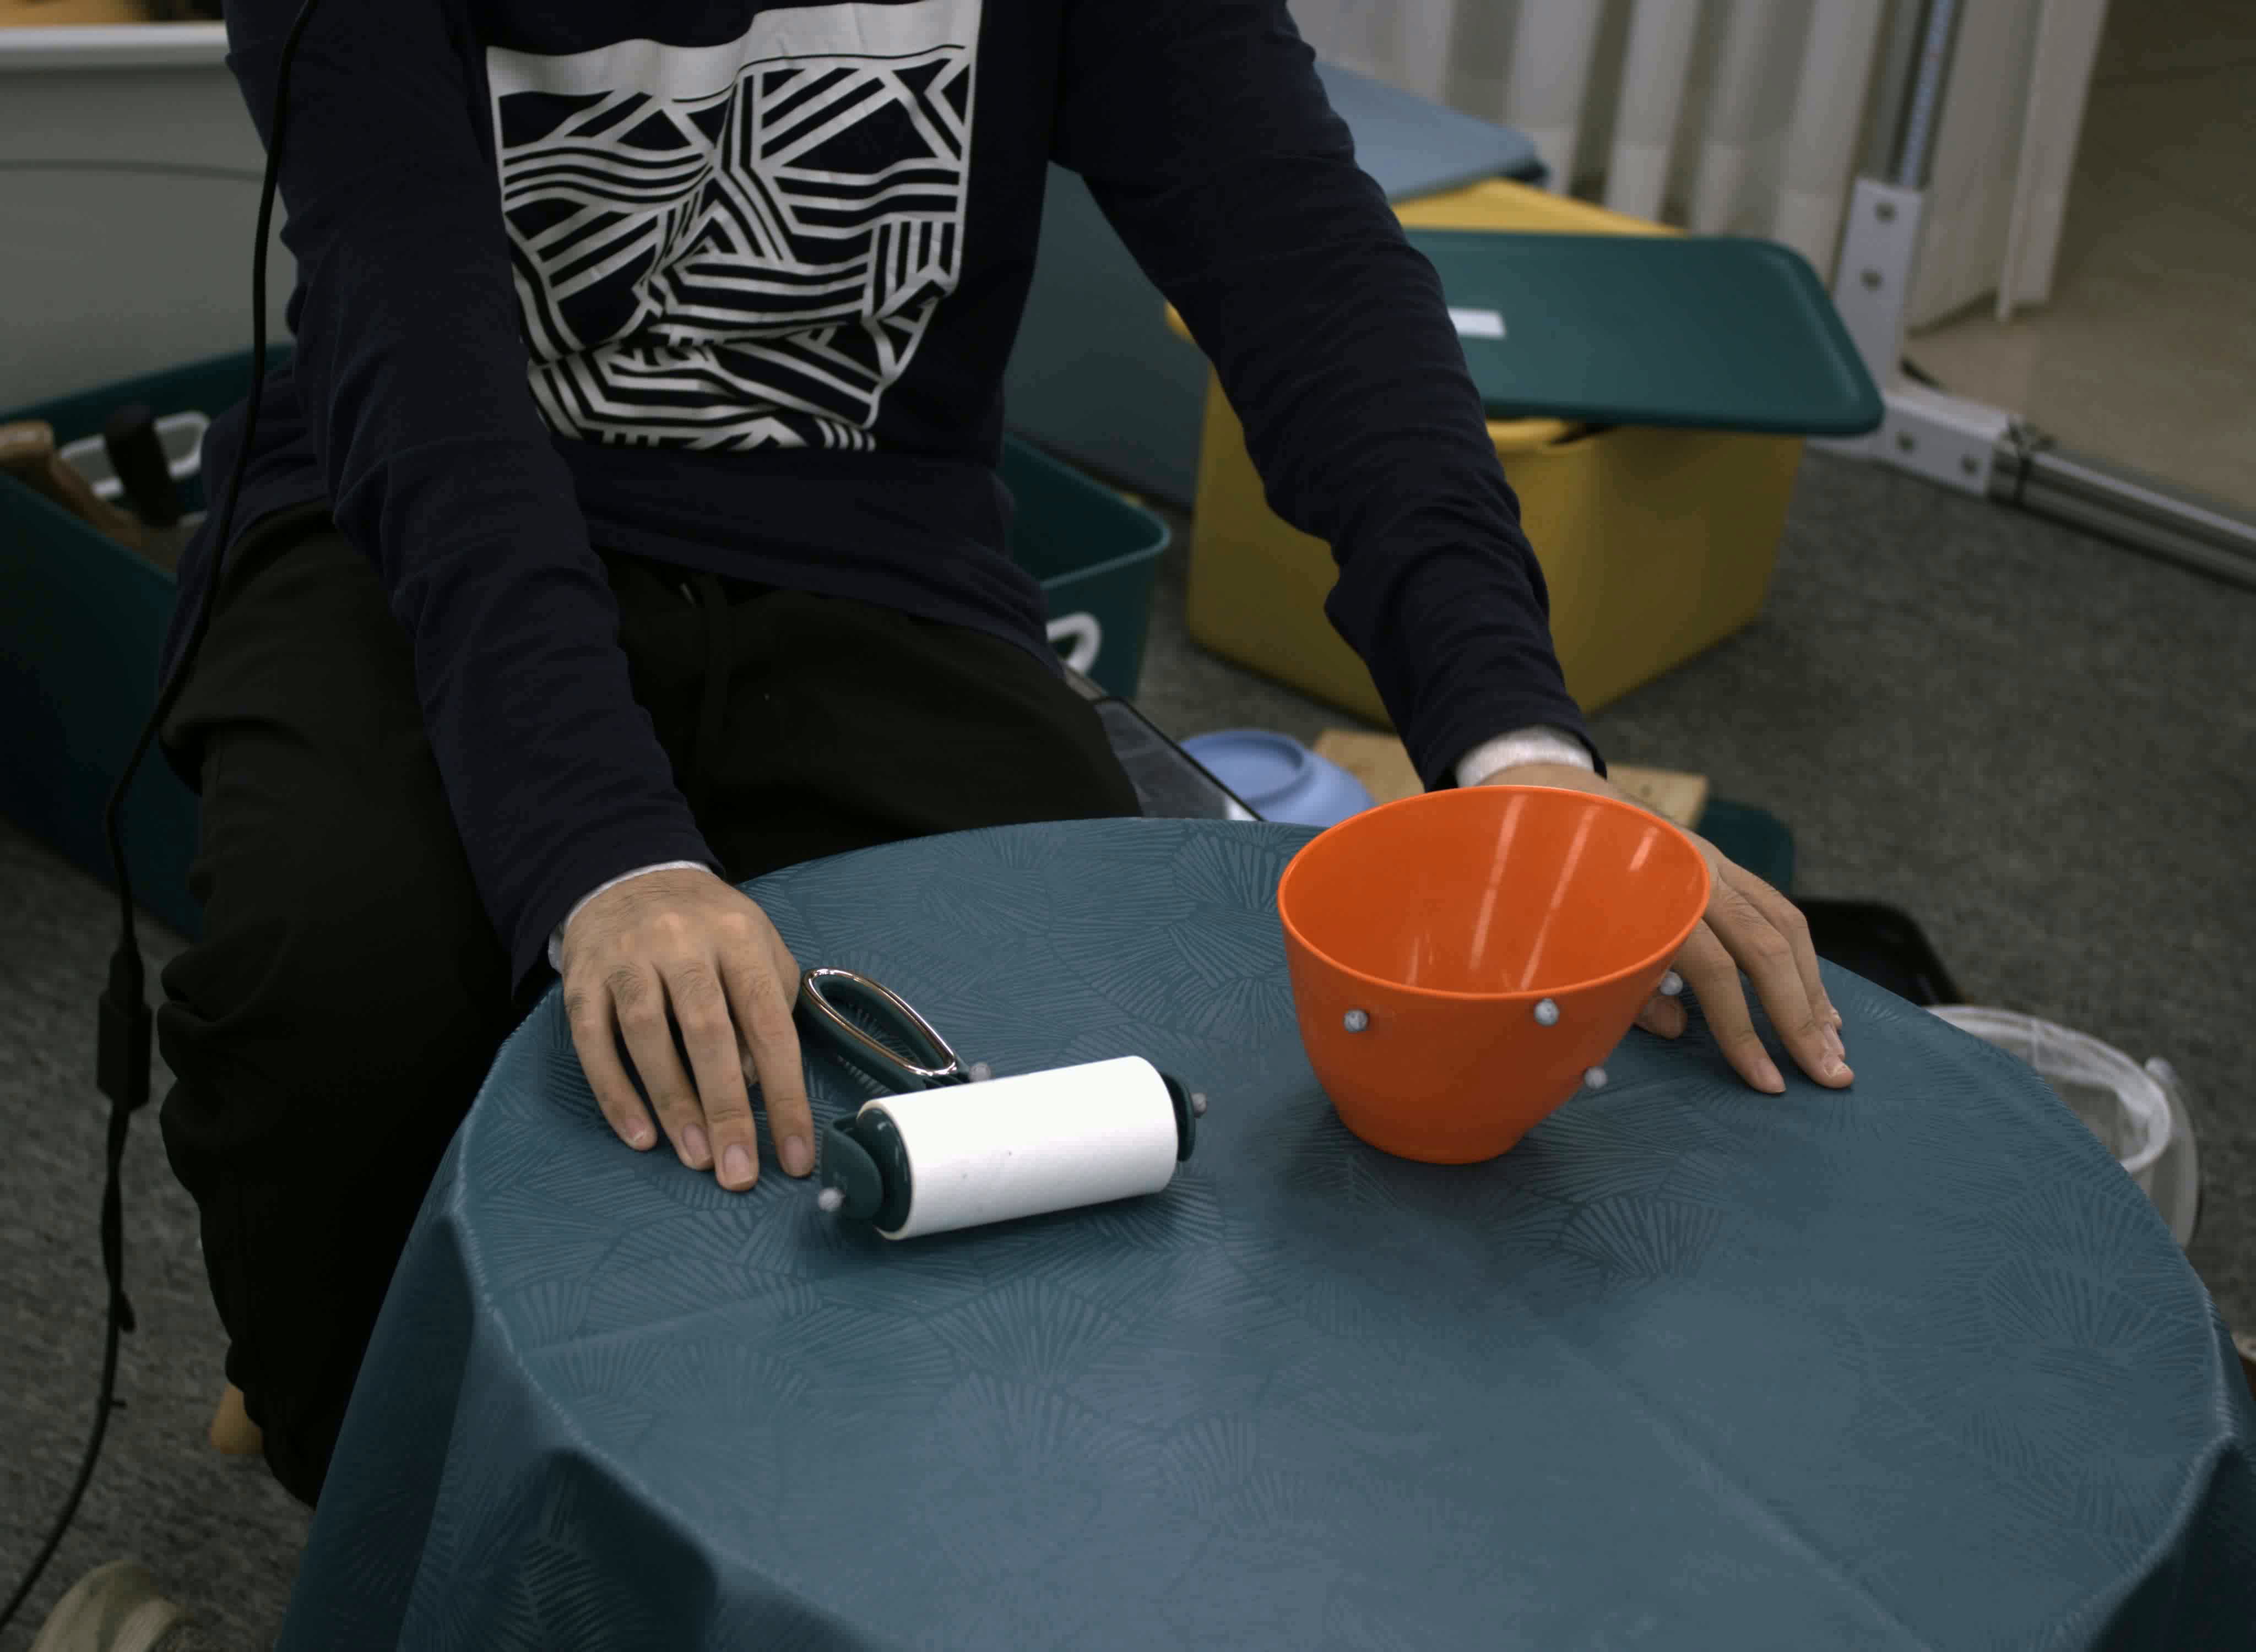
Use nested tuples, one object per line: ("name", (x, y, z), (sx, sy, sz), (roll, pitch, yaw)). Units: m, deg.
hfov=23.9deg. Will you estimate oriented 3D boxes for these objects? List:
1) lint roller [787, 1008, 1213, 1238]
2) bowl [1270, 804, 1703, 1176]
("lint roller", (-0.070, 0.082, 1.832), (0.133, 0.048, 0.181), (-9, 26, -27))
("bowl", (0.120, 0.062, 1.853), (0.147, 0.104, 0.149), (5, 25, -2))
